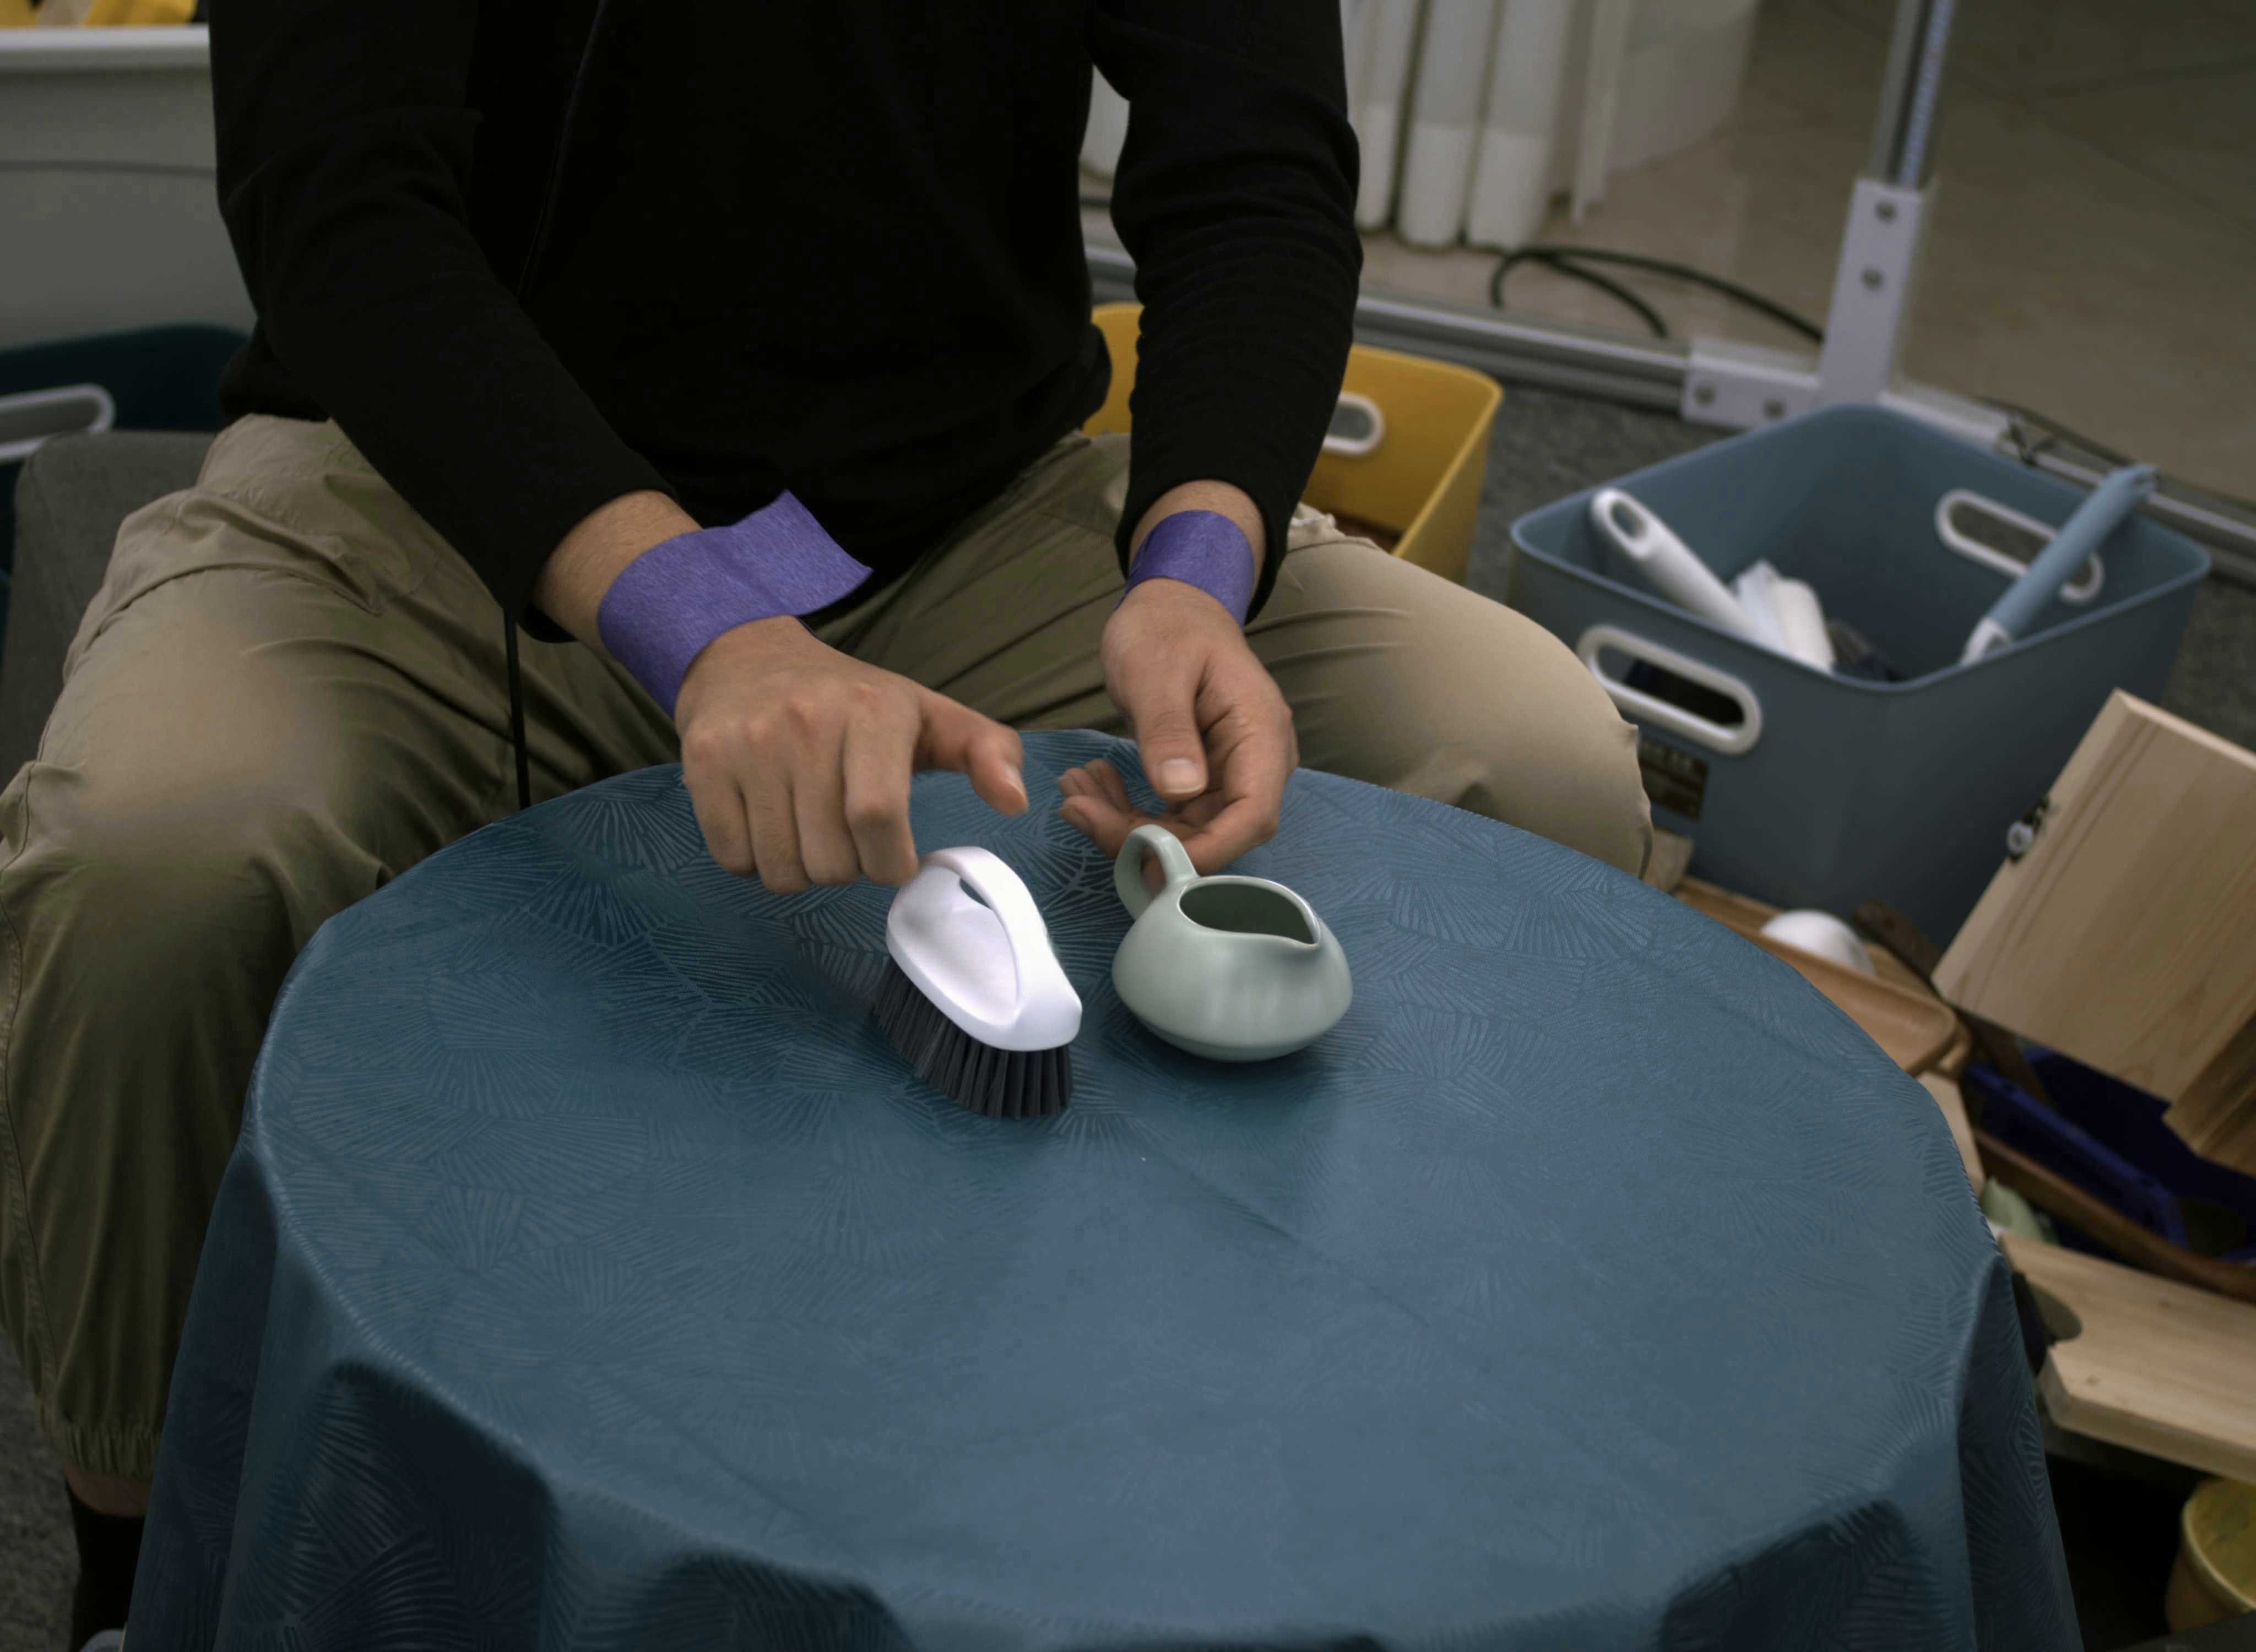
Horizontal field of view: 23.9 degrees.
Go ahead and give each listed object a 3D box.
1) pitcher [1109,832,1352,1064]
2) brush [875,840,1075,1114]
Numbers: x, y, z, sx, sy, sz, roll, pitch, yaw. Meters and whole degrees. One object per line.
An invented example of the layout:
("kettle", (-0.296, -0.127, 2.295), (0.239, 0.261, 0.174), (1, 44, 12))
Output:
("pitcher", (0.030, 0.045, 1.903), (0.085, 0.060, 0.109), (-17, 32, -39))
("brush", (-0.052, 0.046, 1.859), (0.050, 0.072, 0.100), (-5, 31, -27))
